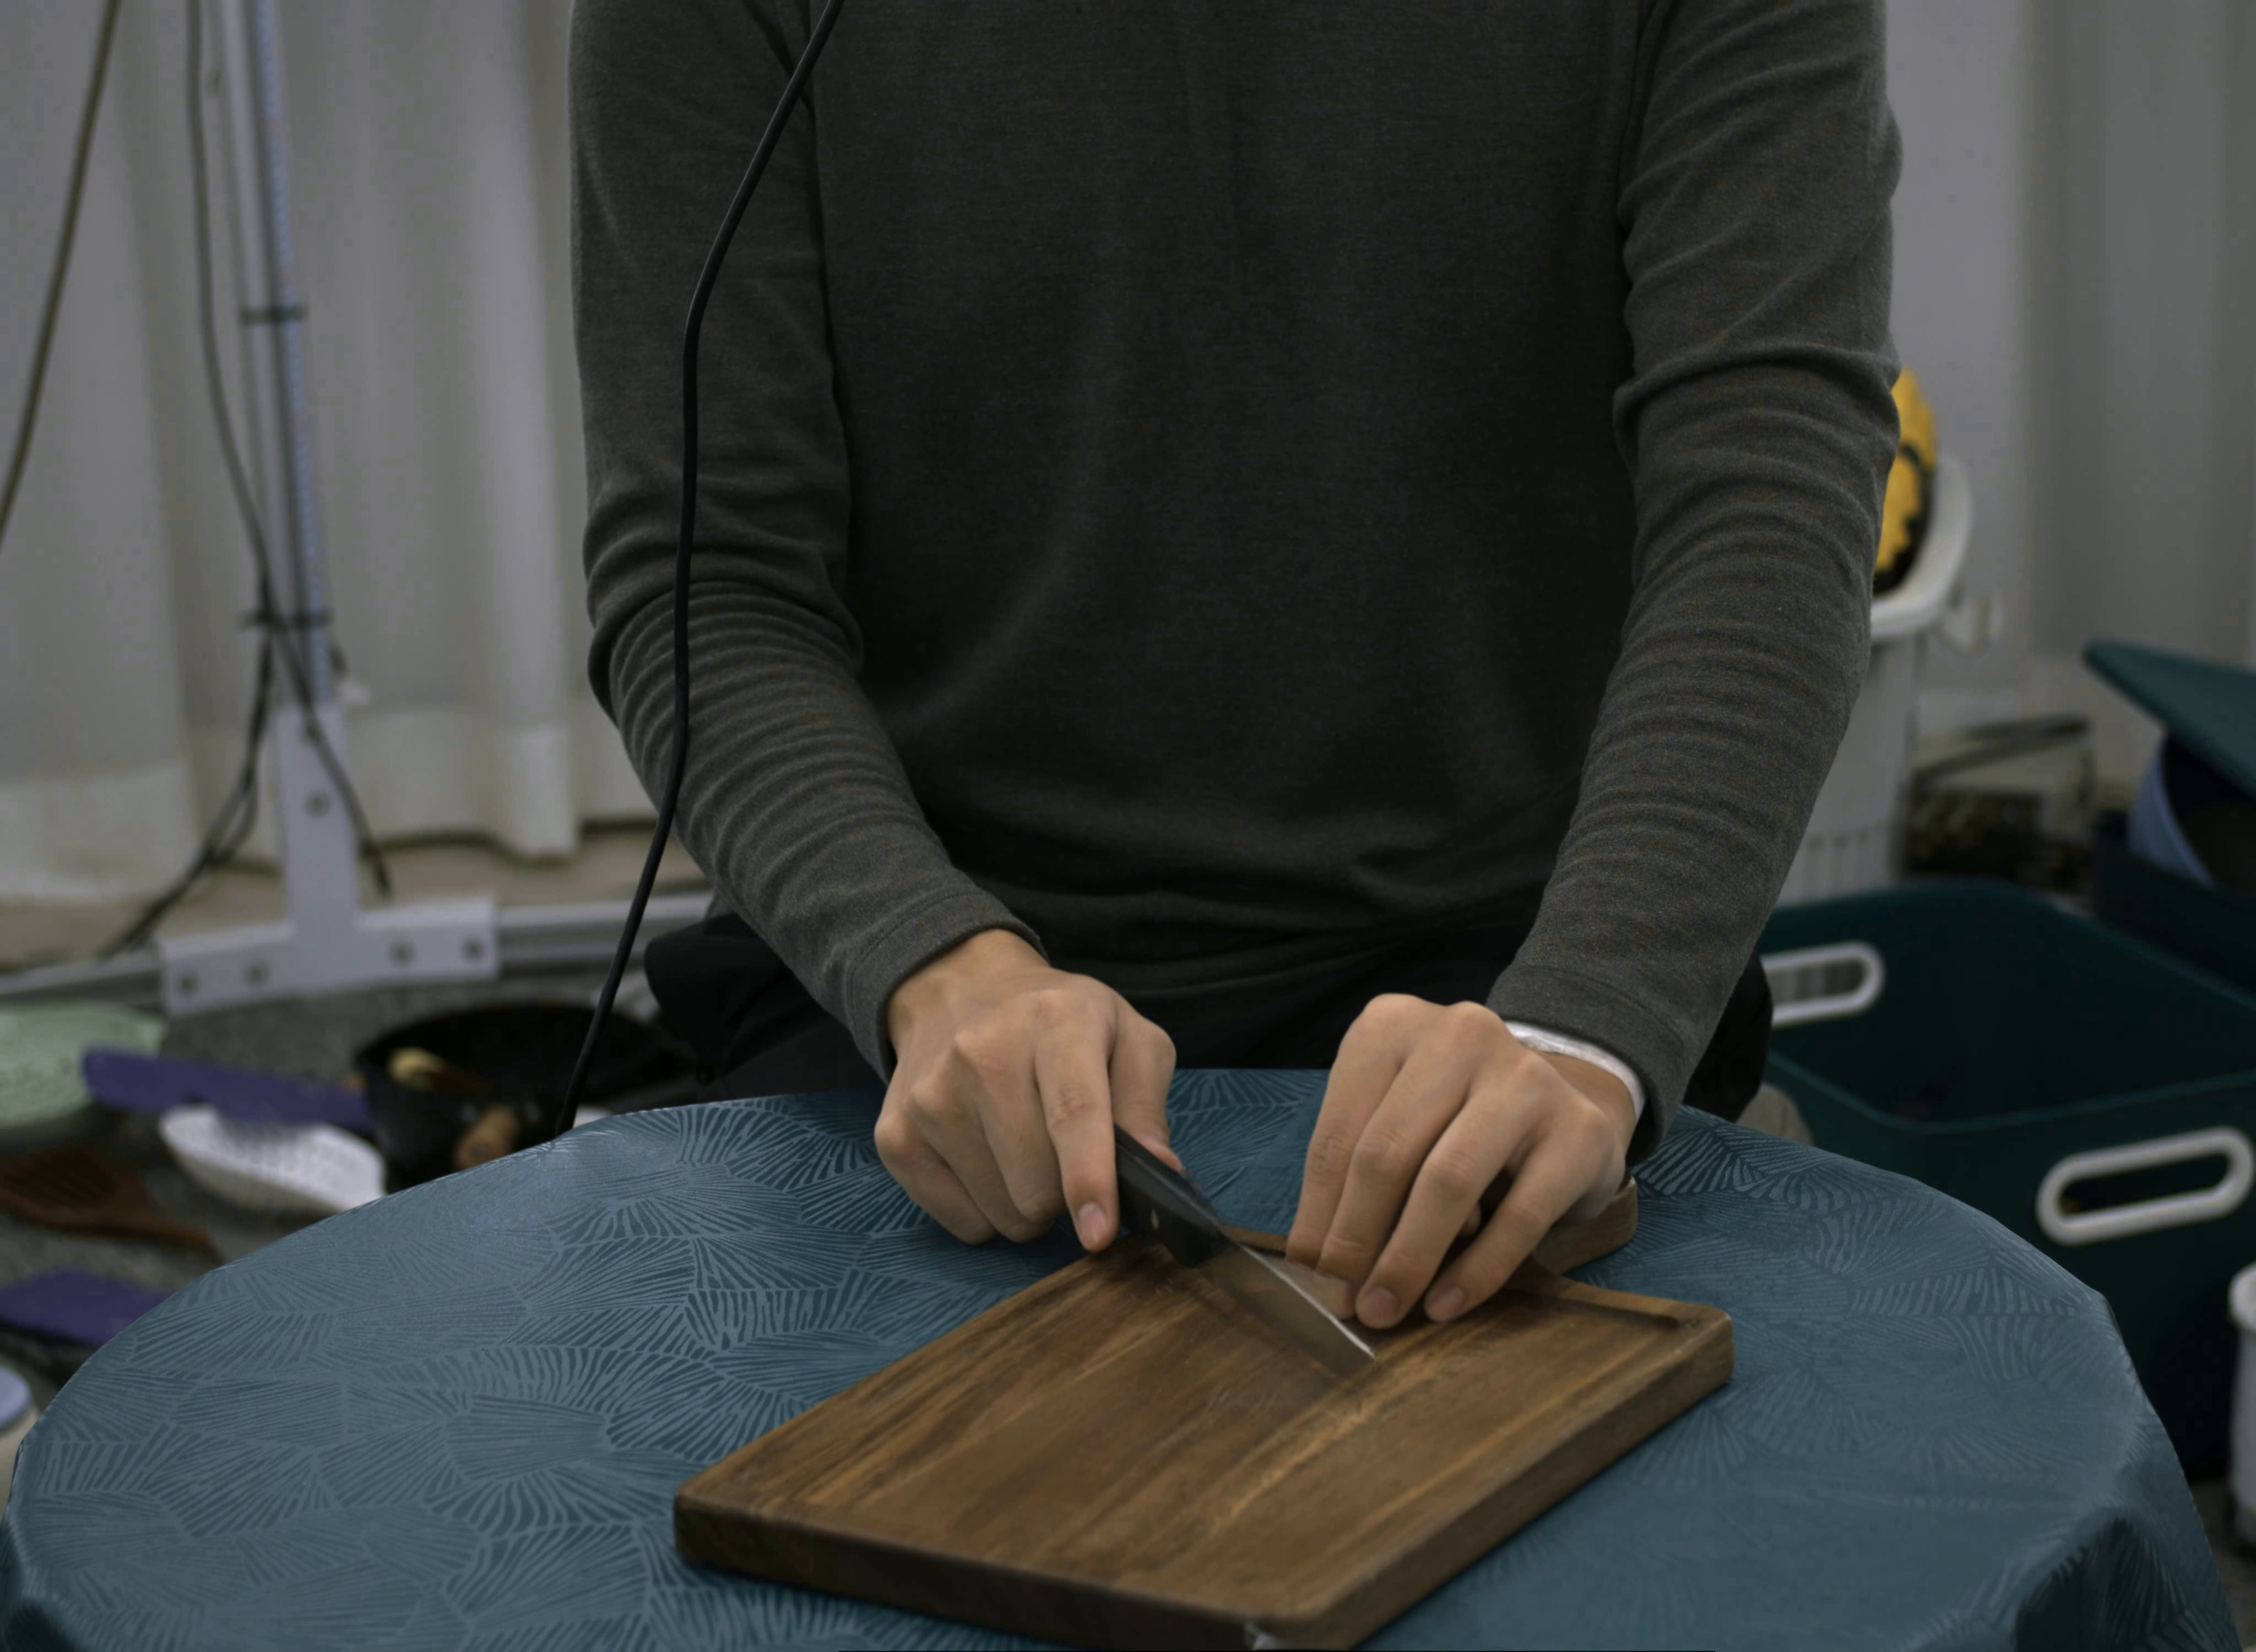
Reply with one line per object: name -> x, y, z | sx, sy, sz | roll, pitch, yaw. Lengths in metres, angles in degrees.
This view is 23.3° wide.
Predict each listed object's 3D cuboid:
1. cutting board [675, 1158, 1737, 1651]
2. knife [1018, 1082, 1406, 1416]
cutting board -> 0.052, 0.153, 1.525 | 0.201, 0.023, 0.352 | 7, 17, 31
knife -> 0.023, 0.119, 1.568 | 0.016, 0.024, 0.240 | -11, 22, -23
